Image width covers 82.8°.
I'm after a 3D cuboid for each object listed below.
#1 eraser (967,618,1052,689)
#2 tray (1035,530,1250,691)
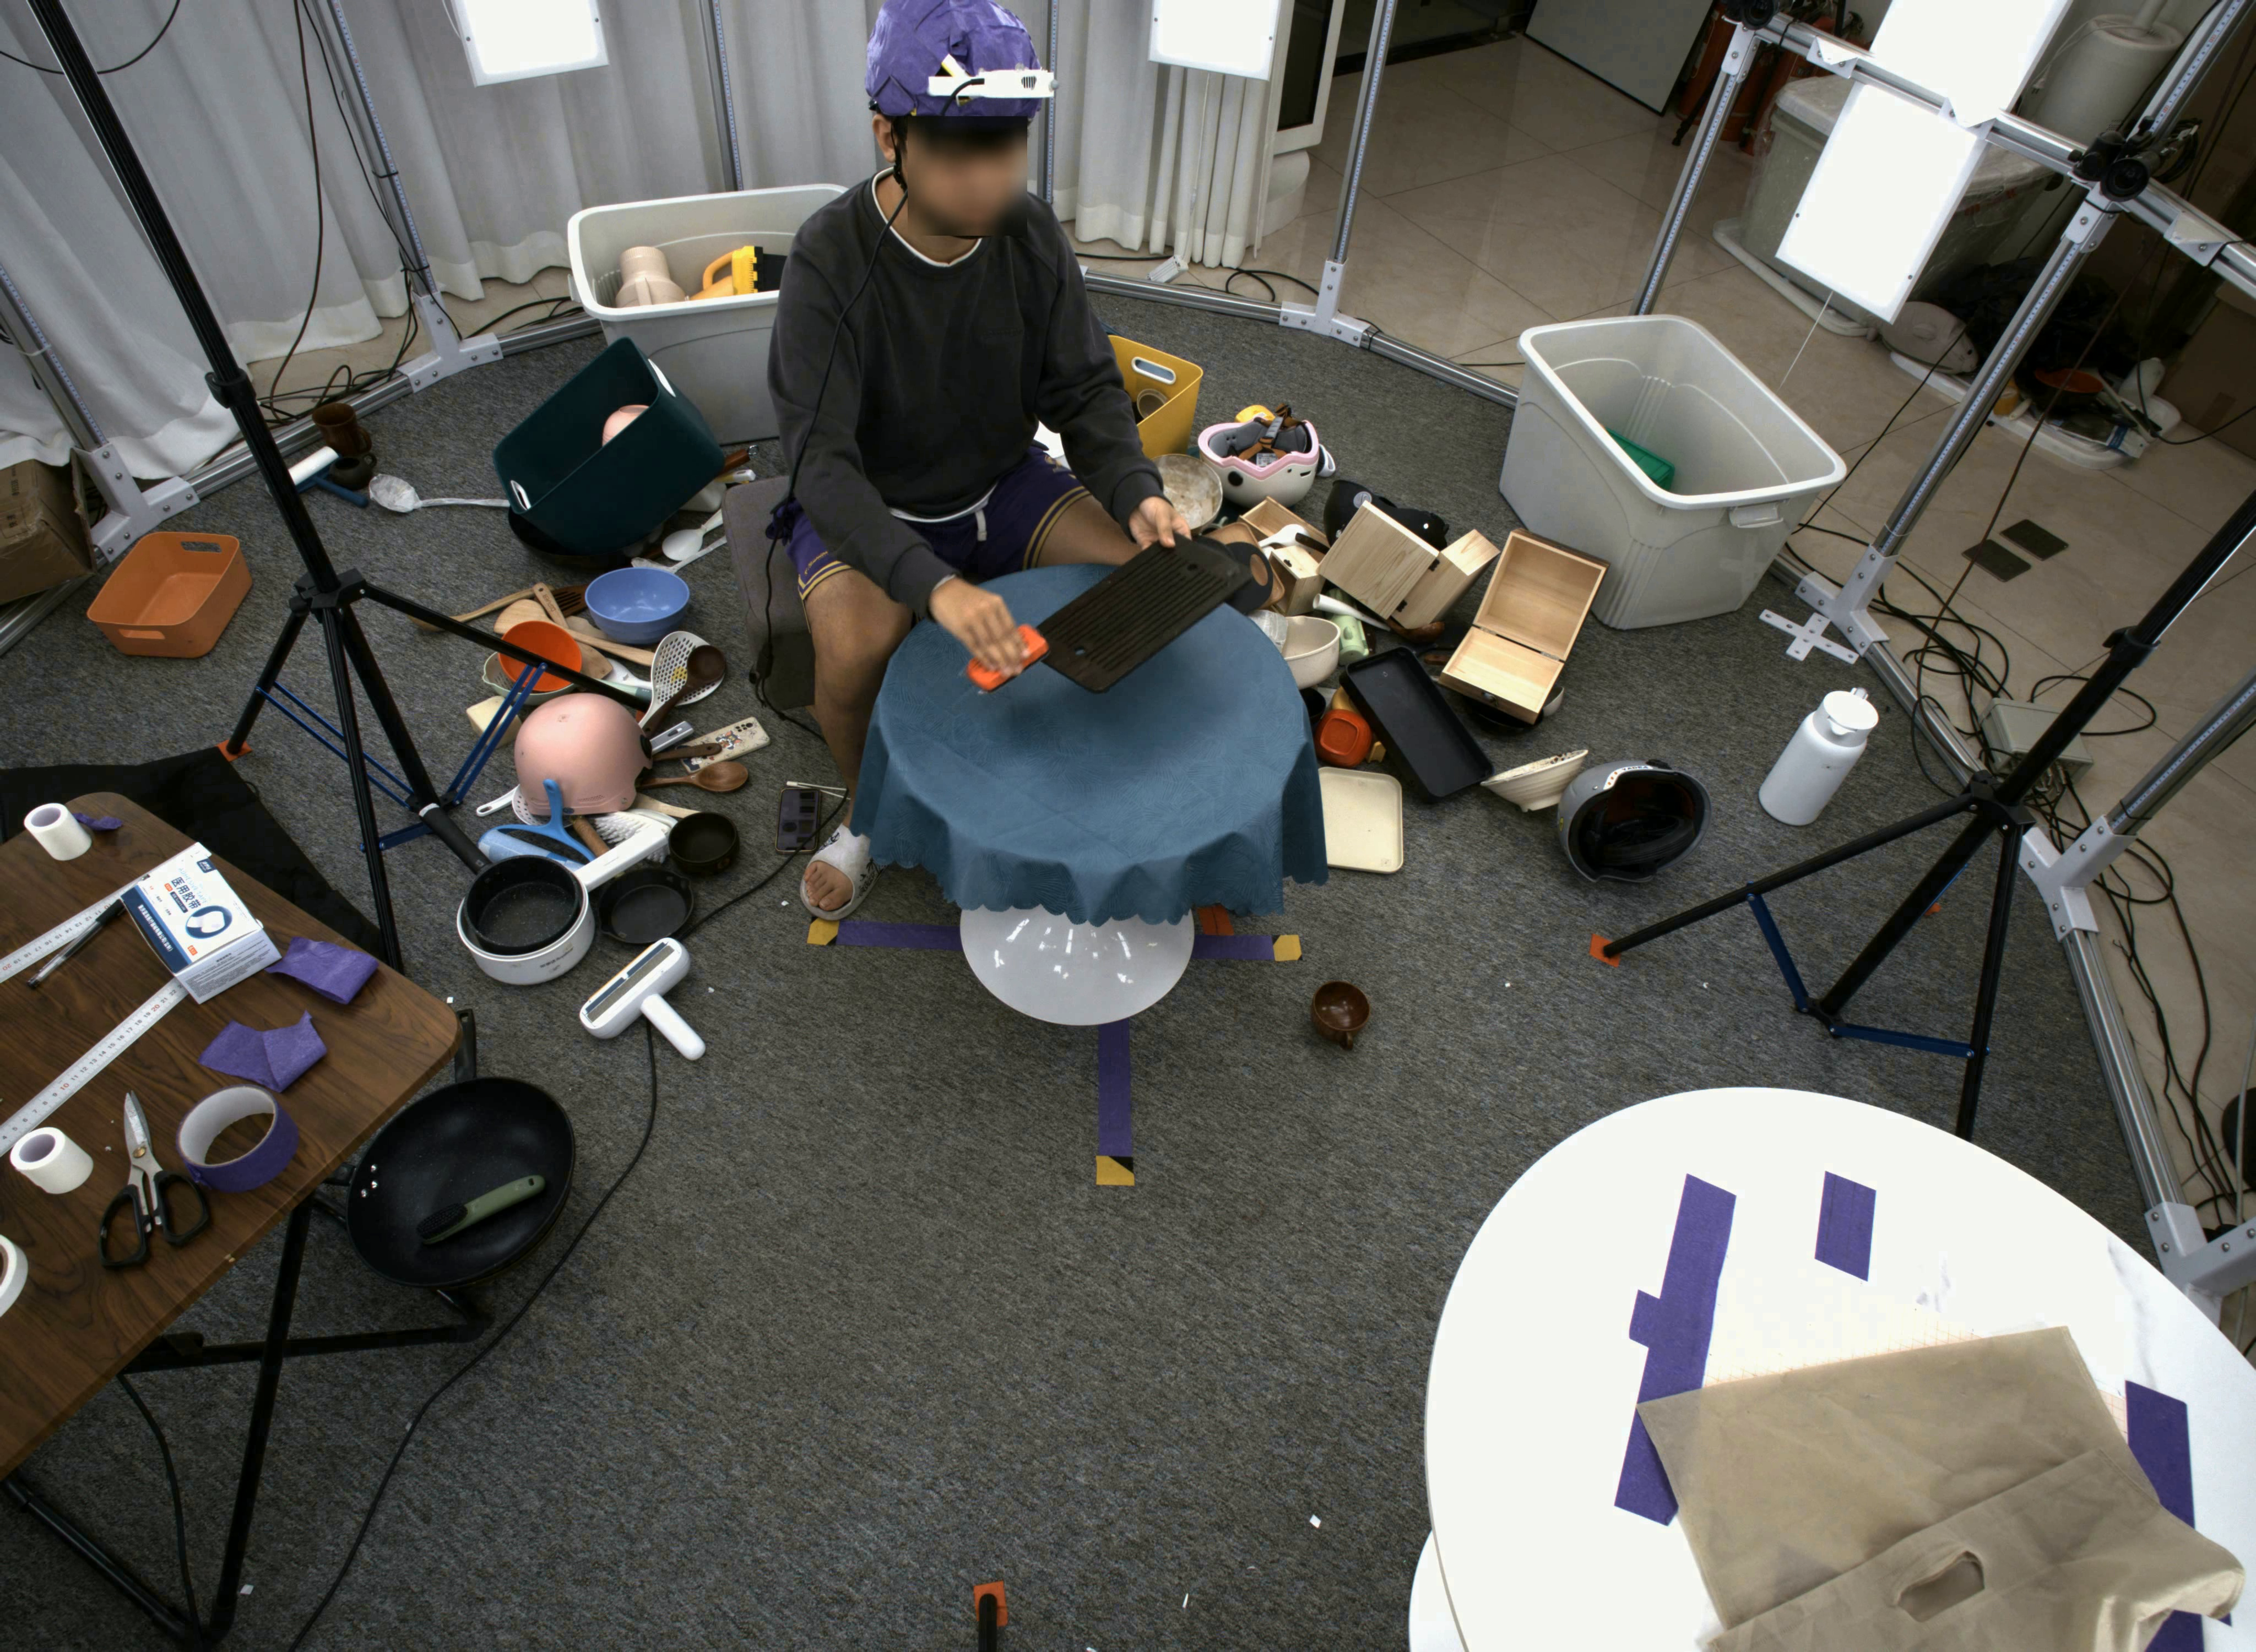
[{"bbox_3d":[-0.158,-0.230,1.714,0.109,0.022,0.060,-39,51,-17],"label":"eraser"},{"bbox_3d":[0.010,-0.300,1.769,0.308,0.018,0.173,-39,51,-22],"label":"tray"}]
